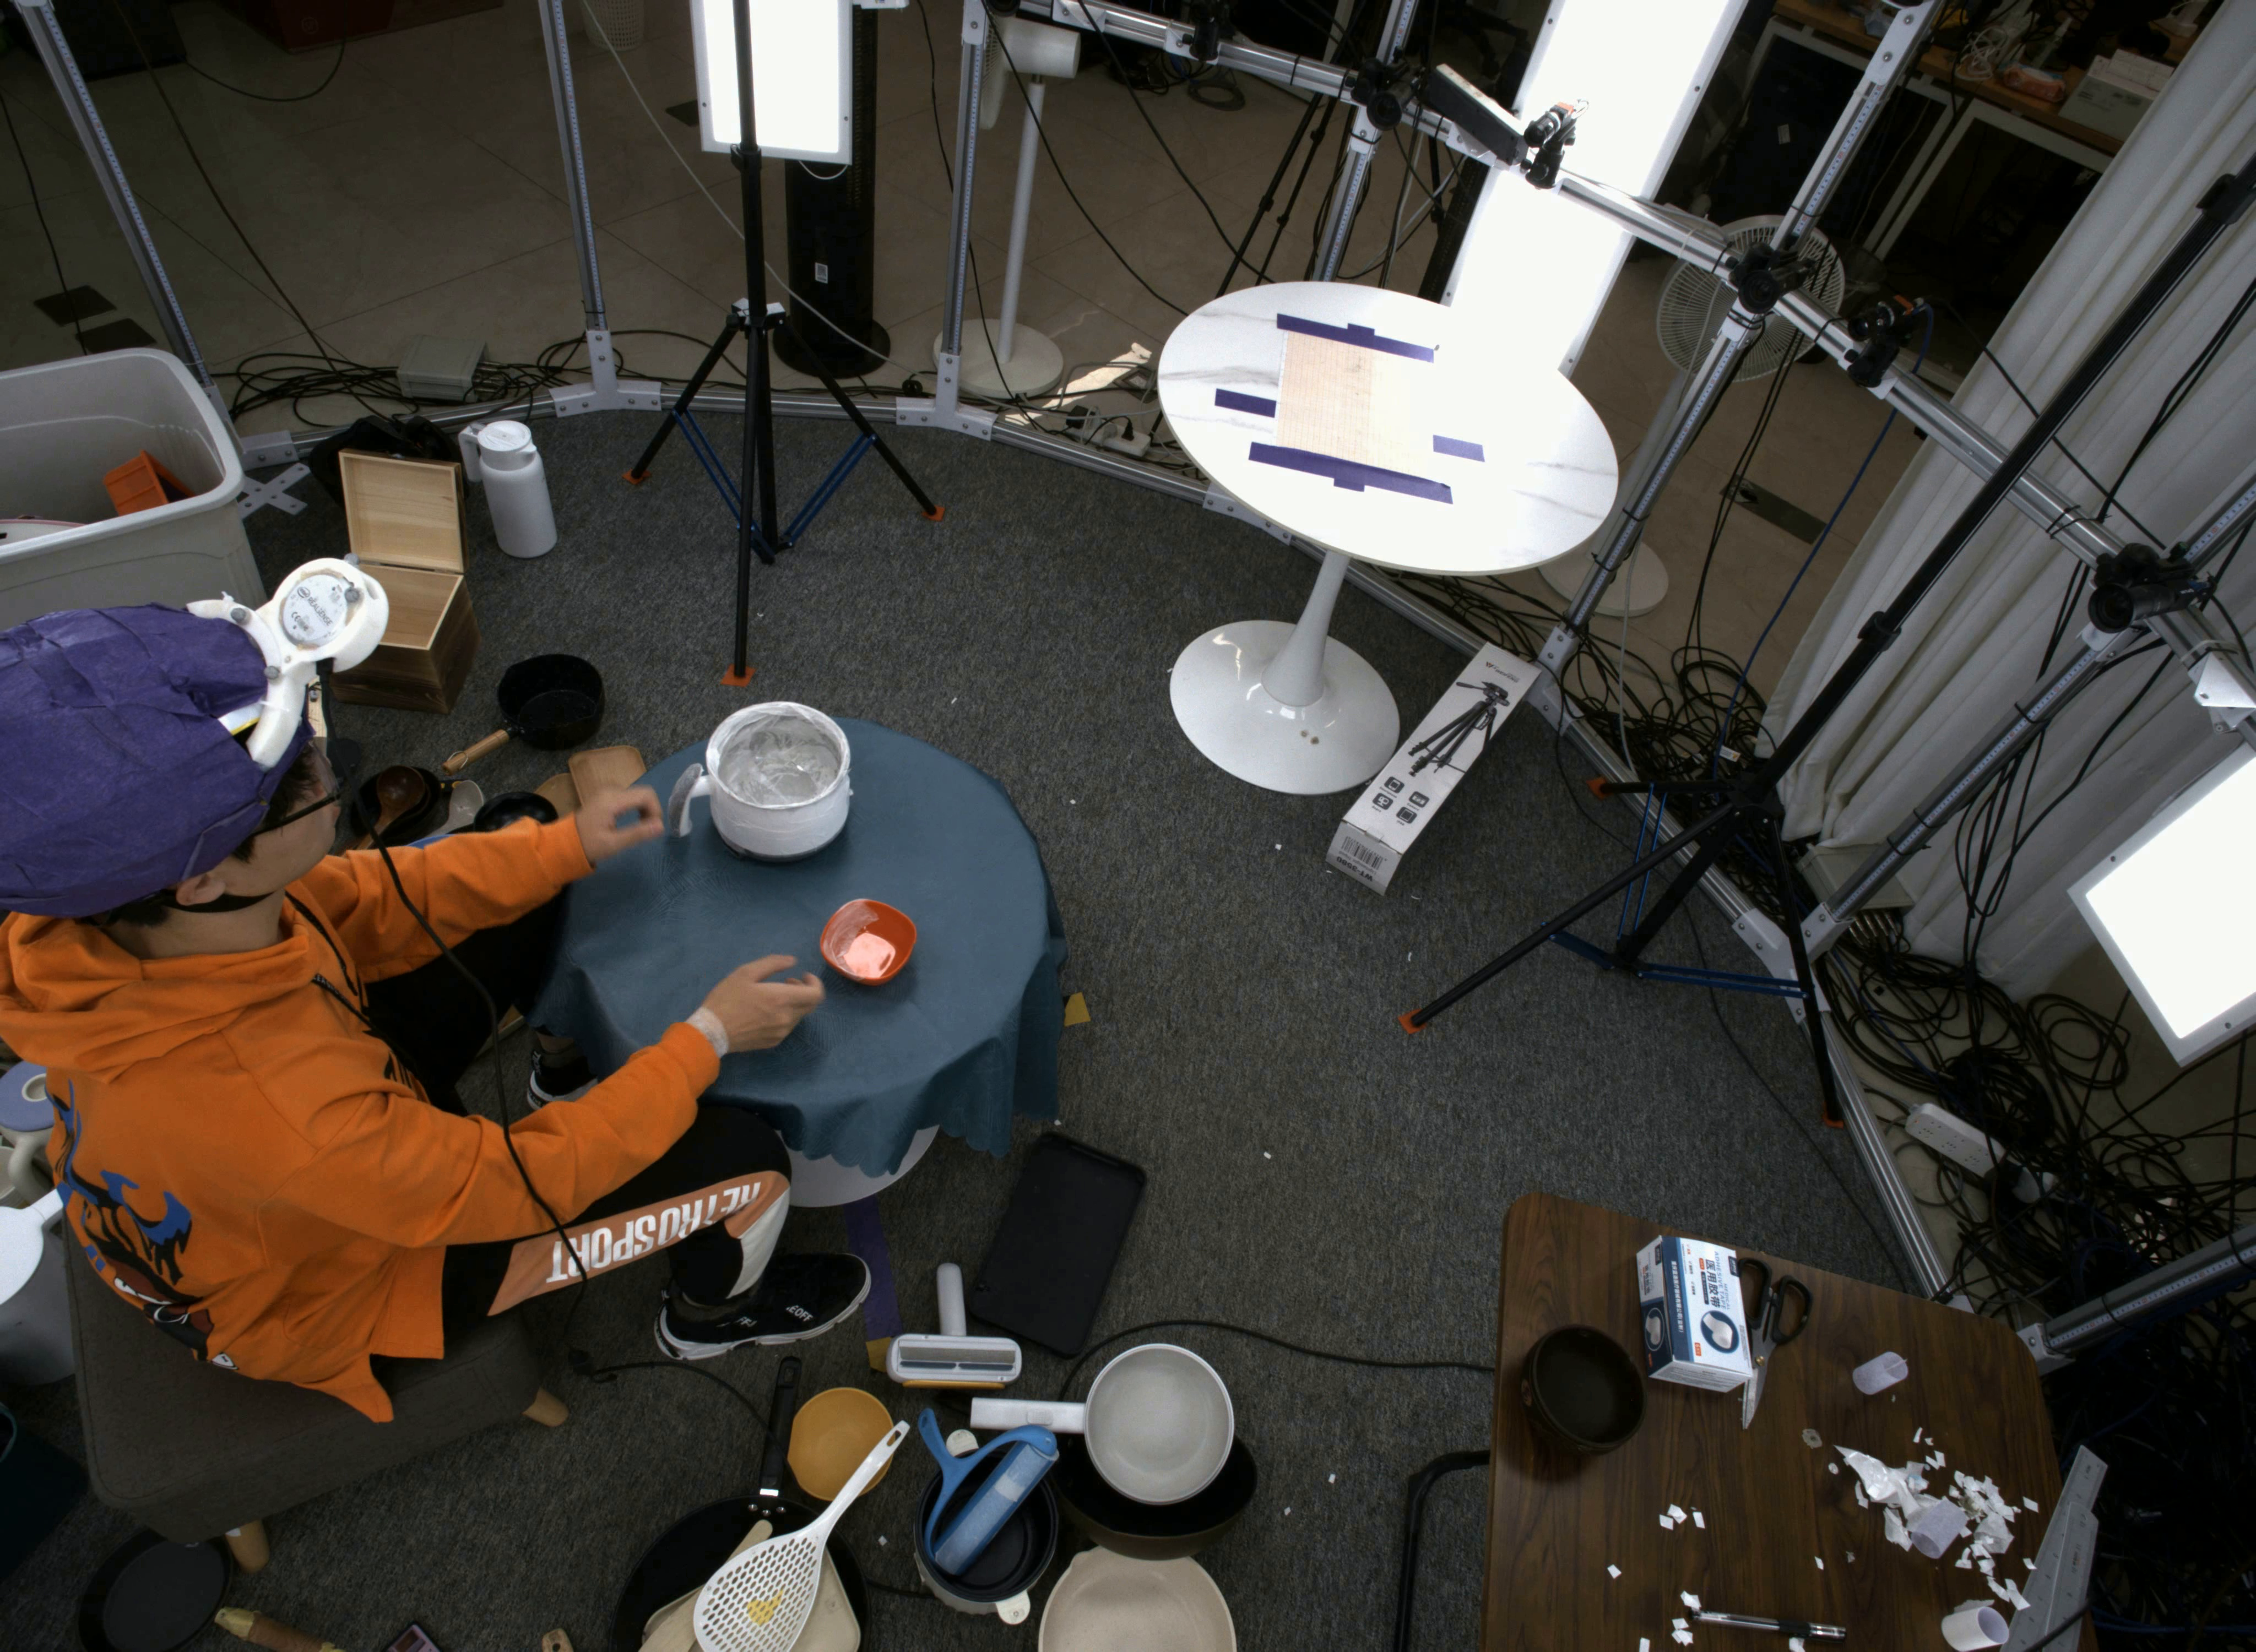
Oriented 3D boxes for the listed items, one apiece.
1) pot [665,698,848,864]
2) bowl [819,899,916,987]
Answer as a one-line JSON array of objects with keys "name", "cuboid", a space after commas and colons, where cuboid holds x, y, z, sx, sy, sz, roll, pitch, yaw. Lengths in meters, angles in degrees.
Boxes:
[{"name": "pot", "cuboid": [-0.474, -0.048, 1.647, 0.235, 0.139, 0.174, -14, 57, -24]}, {"name": "bowl", "cuboid": [-0.320, 0.151, 1.596, 0.119, 0.052, 0.117, 9, 52, -10]}]
